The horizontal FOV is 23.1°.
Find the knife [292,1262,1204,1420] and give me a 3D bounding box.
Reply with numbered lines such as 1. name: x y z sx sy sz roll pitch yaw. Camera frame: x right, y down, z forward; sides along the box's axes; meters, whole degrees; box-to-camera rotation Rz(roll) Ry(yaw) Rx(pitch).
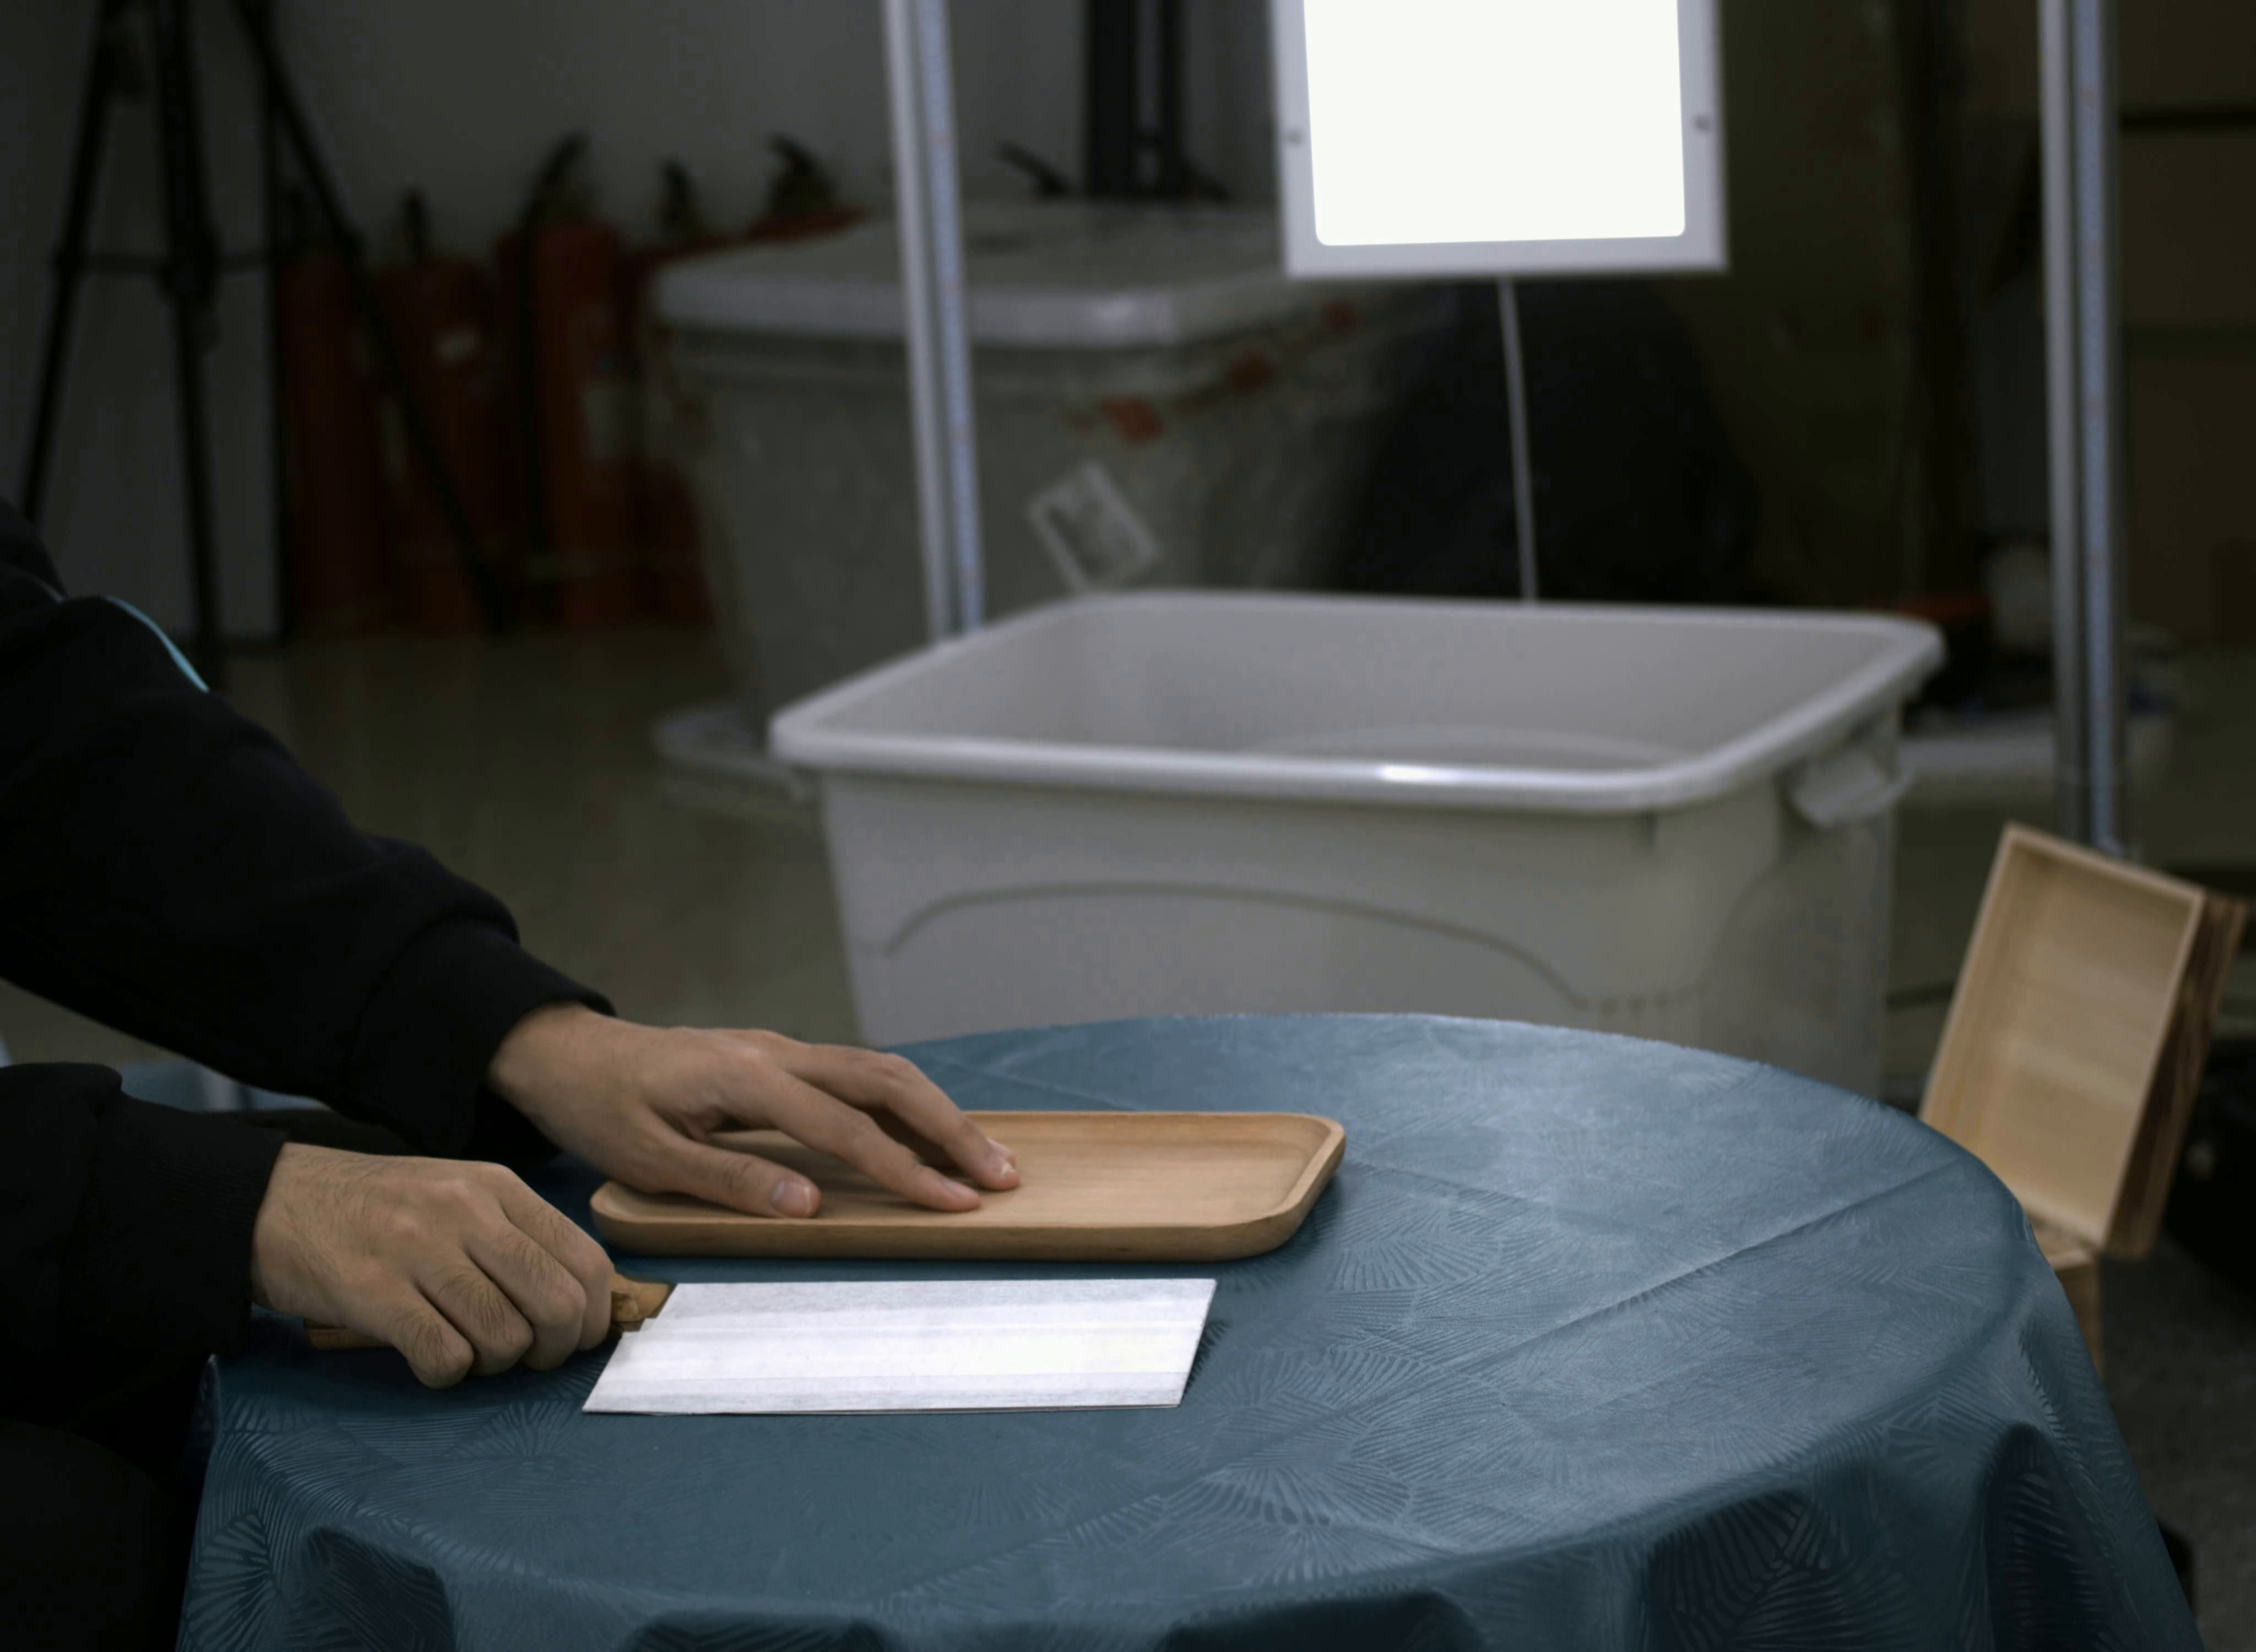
1. knife: -0.127 0.165 1.758 0.308 0.021 0.092 -2 21 12

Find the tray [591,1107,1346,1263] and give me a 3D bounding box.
1. tray: -0.054 0.123 1.897 0.254 0.023 0.128 -2 12 19
